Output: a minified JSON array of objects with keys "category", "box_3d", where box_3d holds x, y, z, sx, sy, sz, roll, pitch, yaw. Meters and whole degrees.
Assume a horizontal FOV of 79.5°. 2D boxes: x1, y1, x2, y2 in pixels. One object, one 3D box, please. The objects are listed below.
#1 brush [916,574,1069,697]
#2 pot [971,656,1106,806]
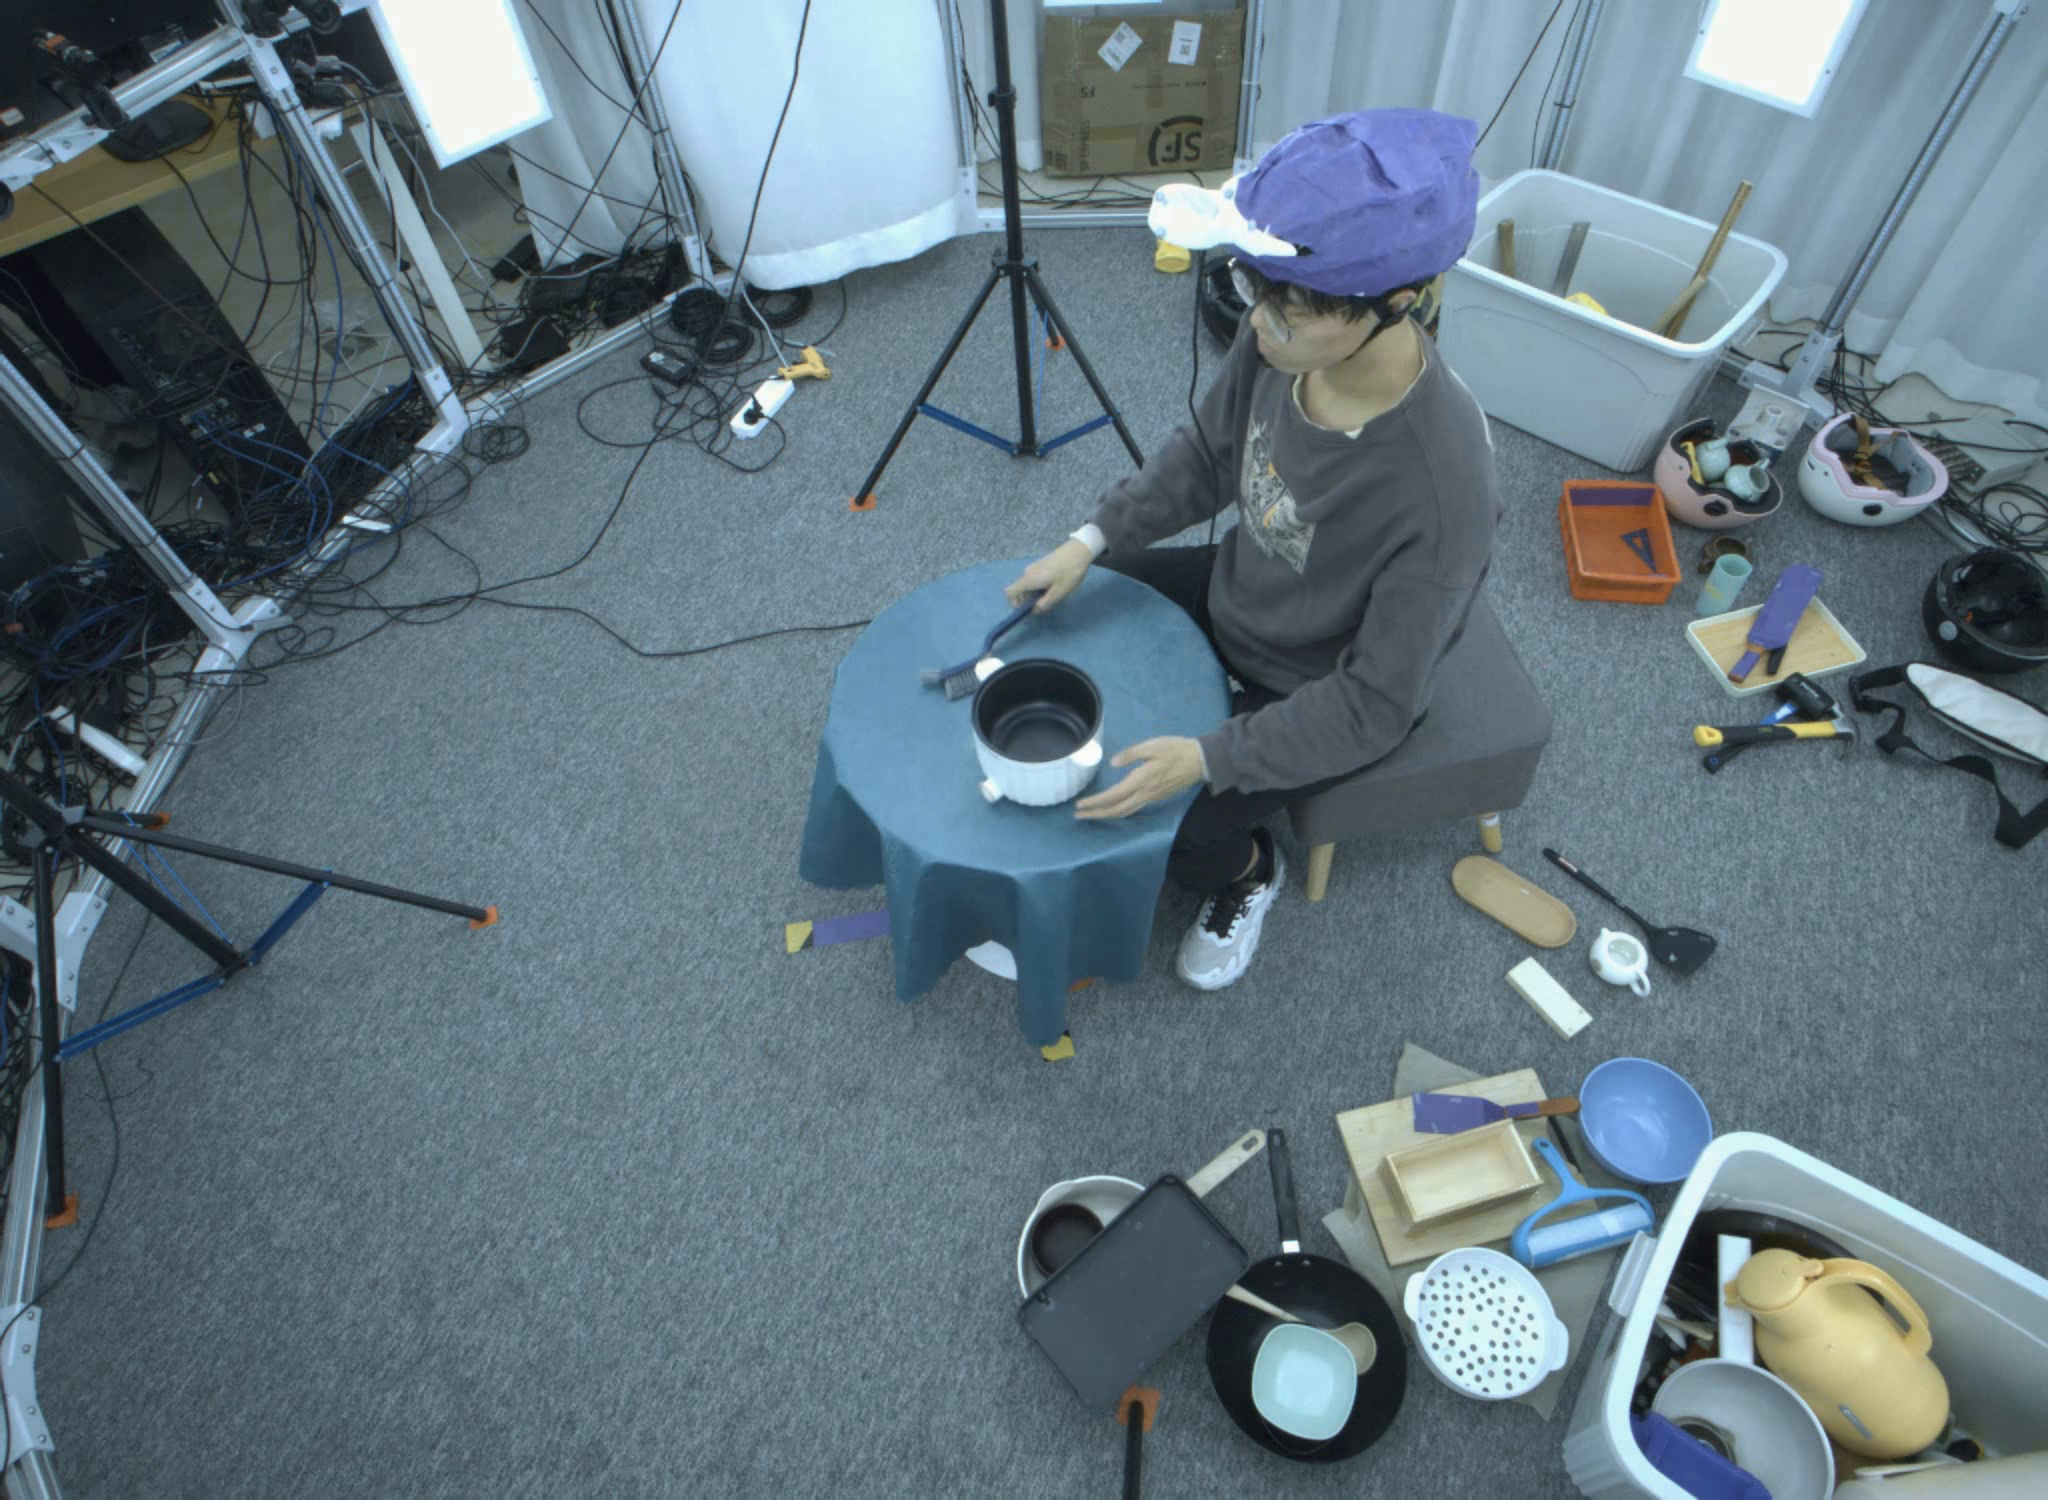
[{"category":"brush","box_3d":[-0.041,-0.187,1.880,0.095,0.034,0.274,39,73,13]},{"category":"pot","box_3d":[0.019,-0.015,1.708,0.192,0.144,0.236,-35,59,-25]}]
